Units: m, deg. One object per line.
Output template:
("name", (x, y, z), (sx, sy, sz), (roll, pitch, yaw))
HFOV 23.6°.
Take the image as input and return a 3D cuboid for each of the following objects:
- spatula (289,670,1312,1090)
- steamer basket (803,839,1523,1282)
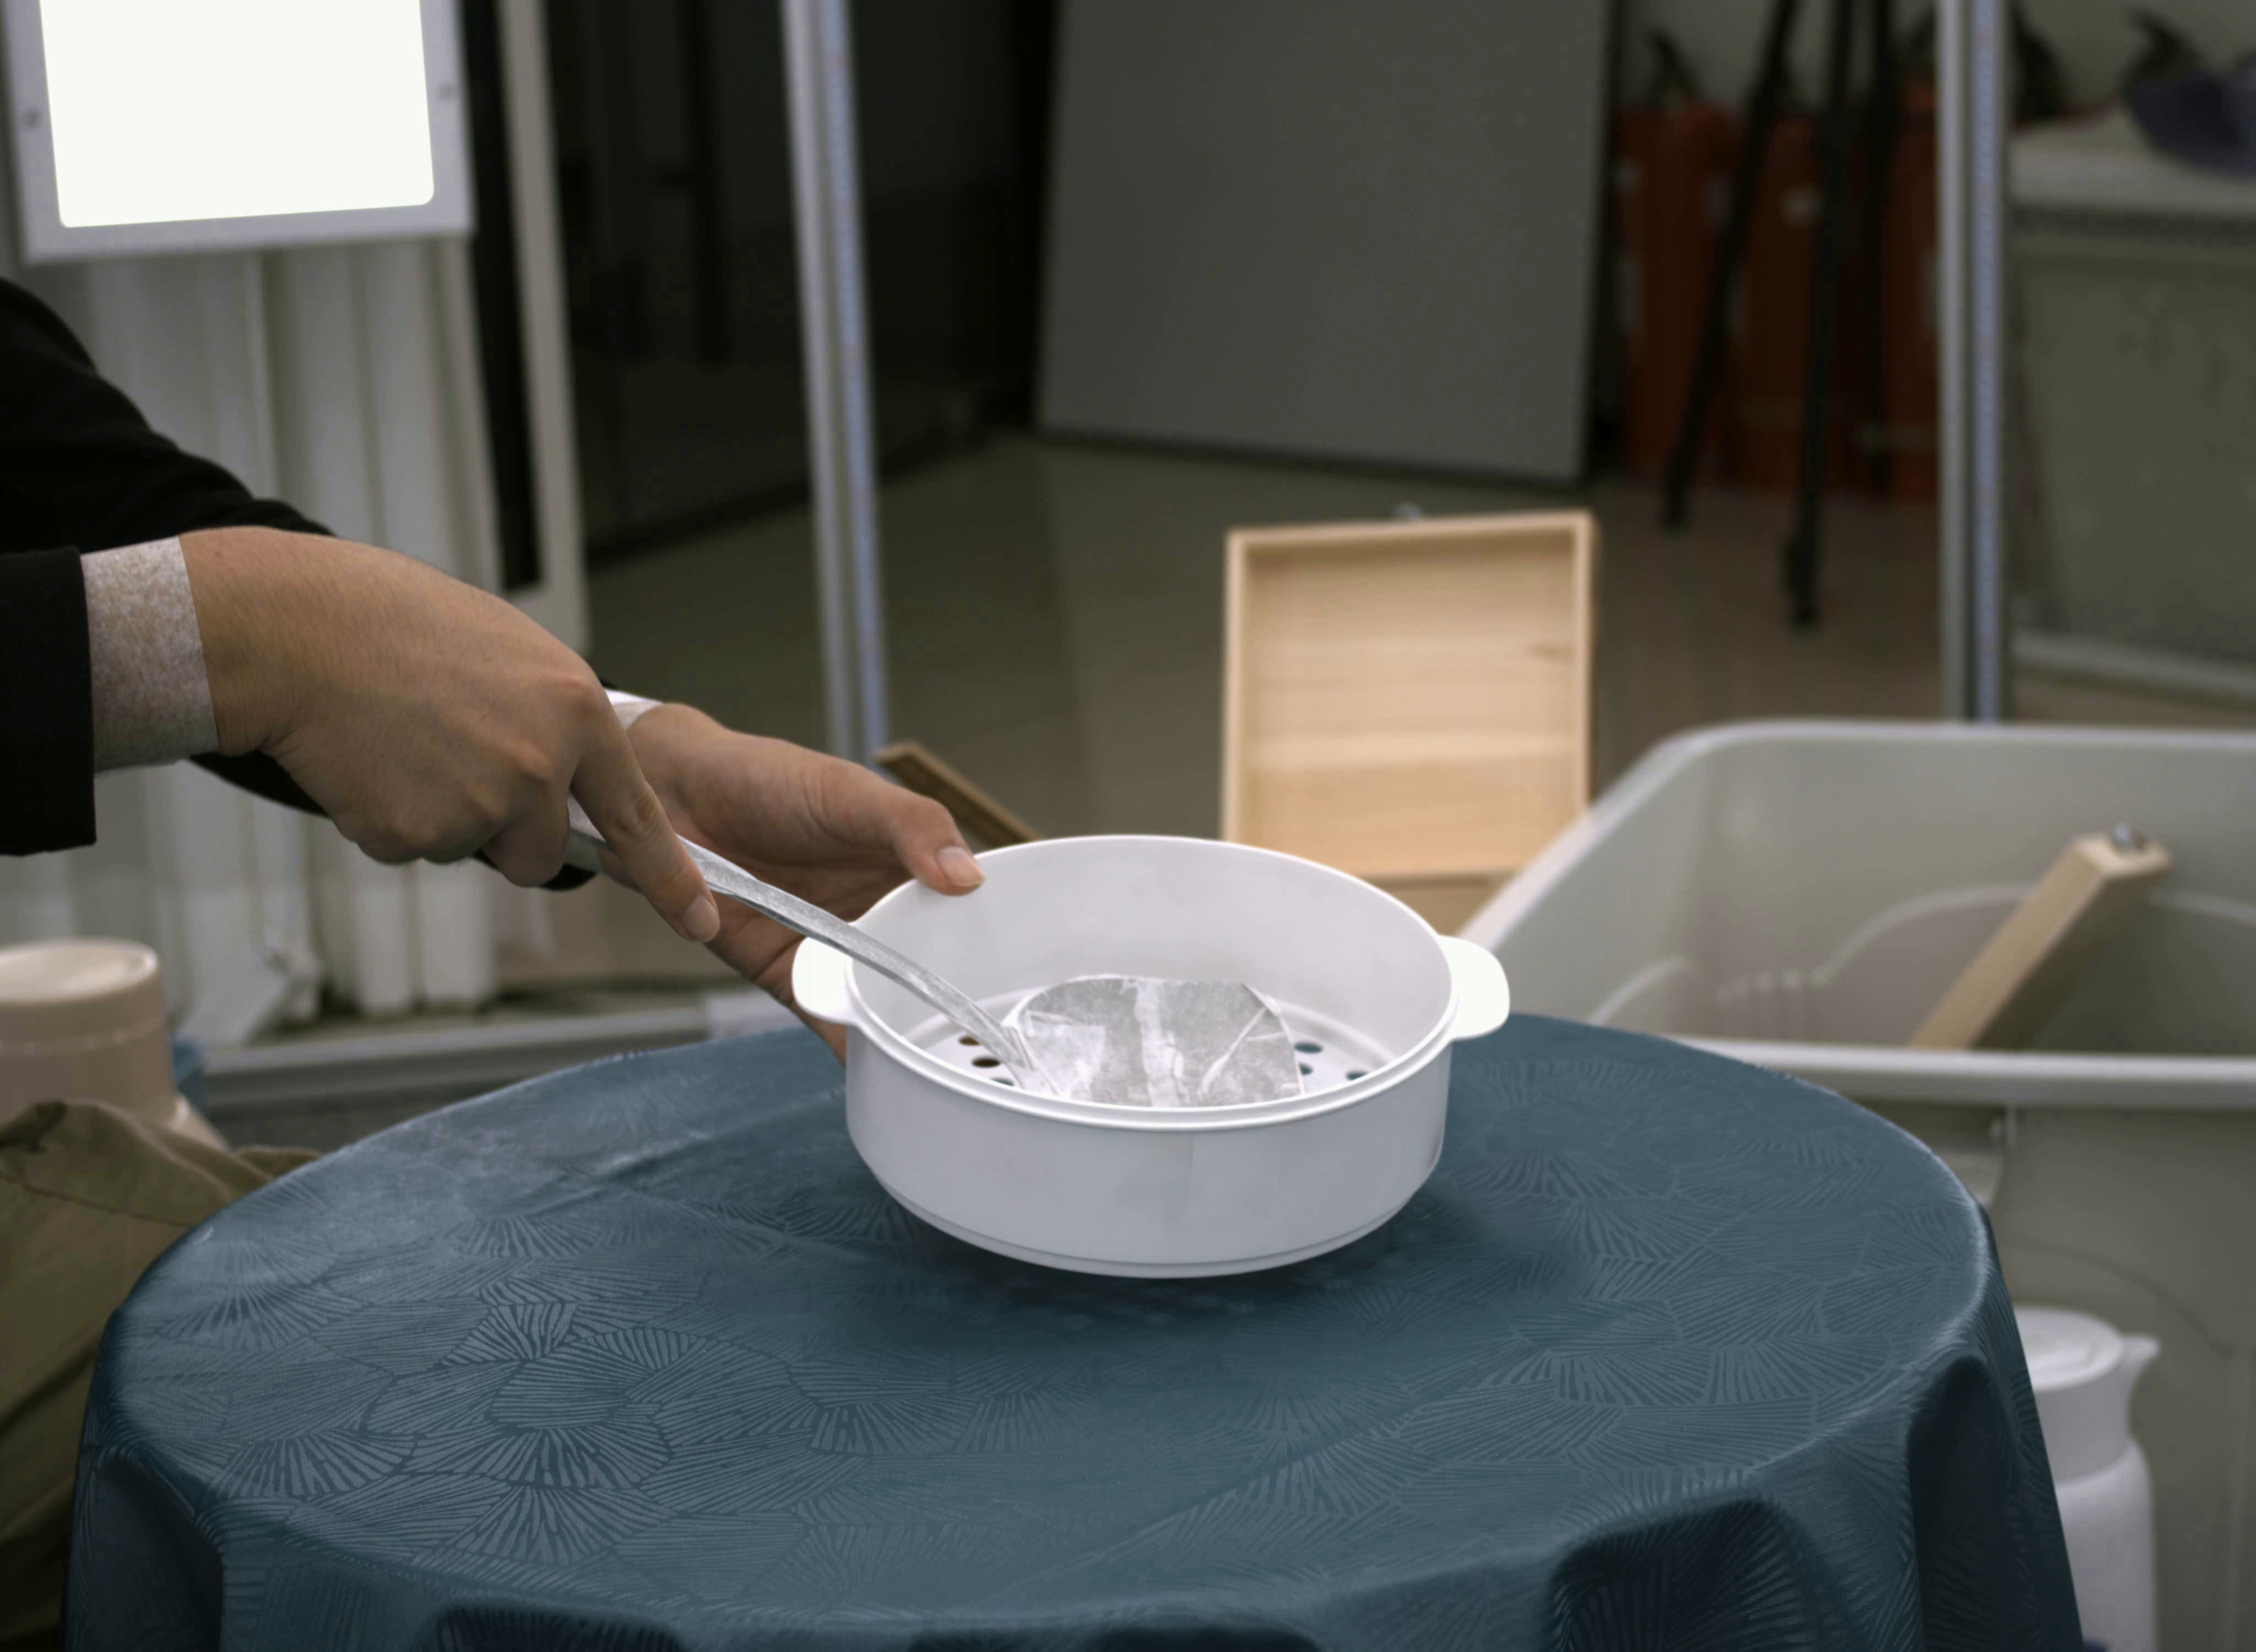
("spatula", (-0.093, 0.024, 1.659), (0.358, 0.045, 0.099), (28, 35, -27))
("steamer basket", (0.010, 0.073, 1.717), (0.227, 0.070, 0.202), (1, 23, 0))
